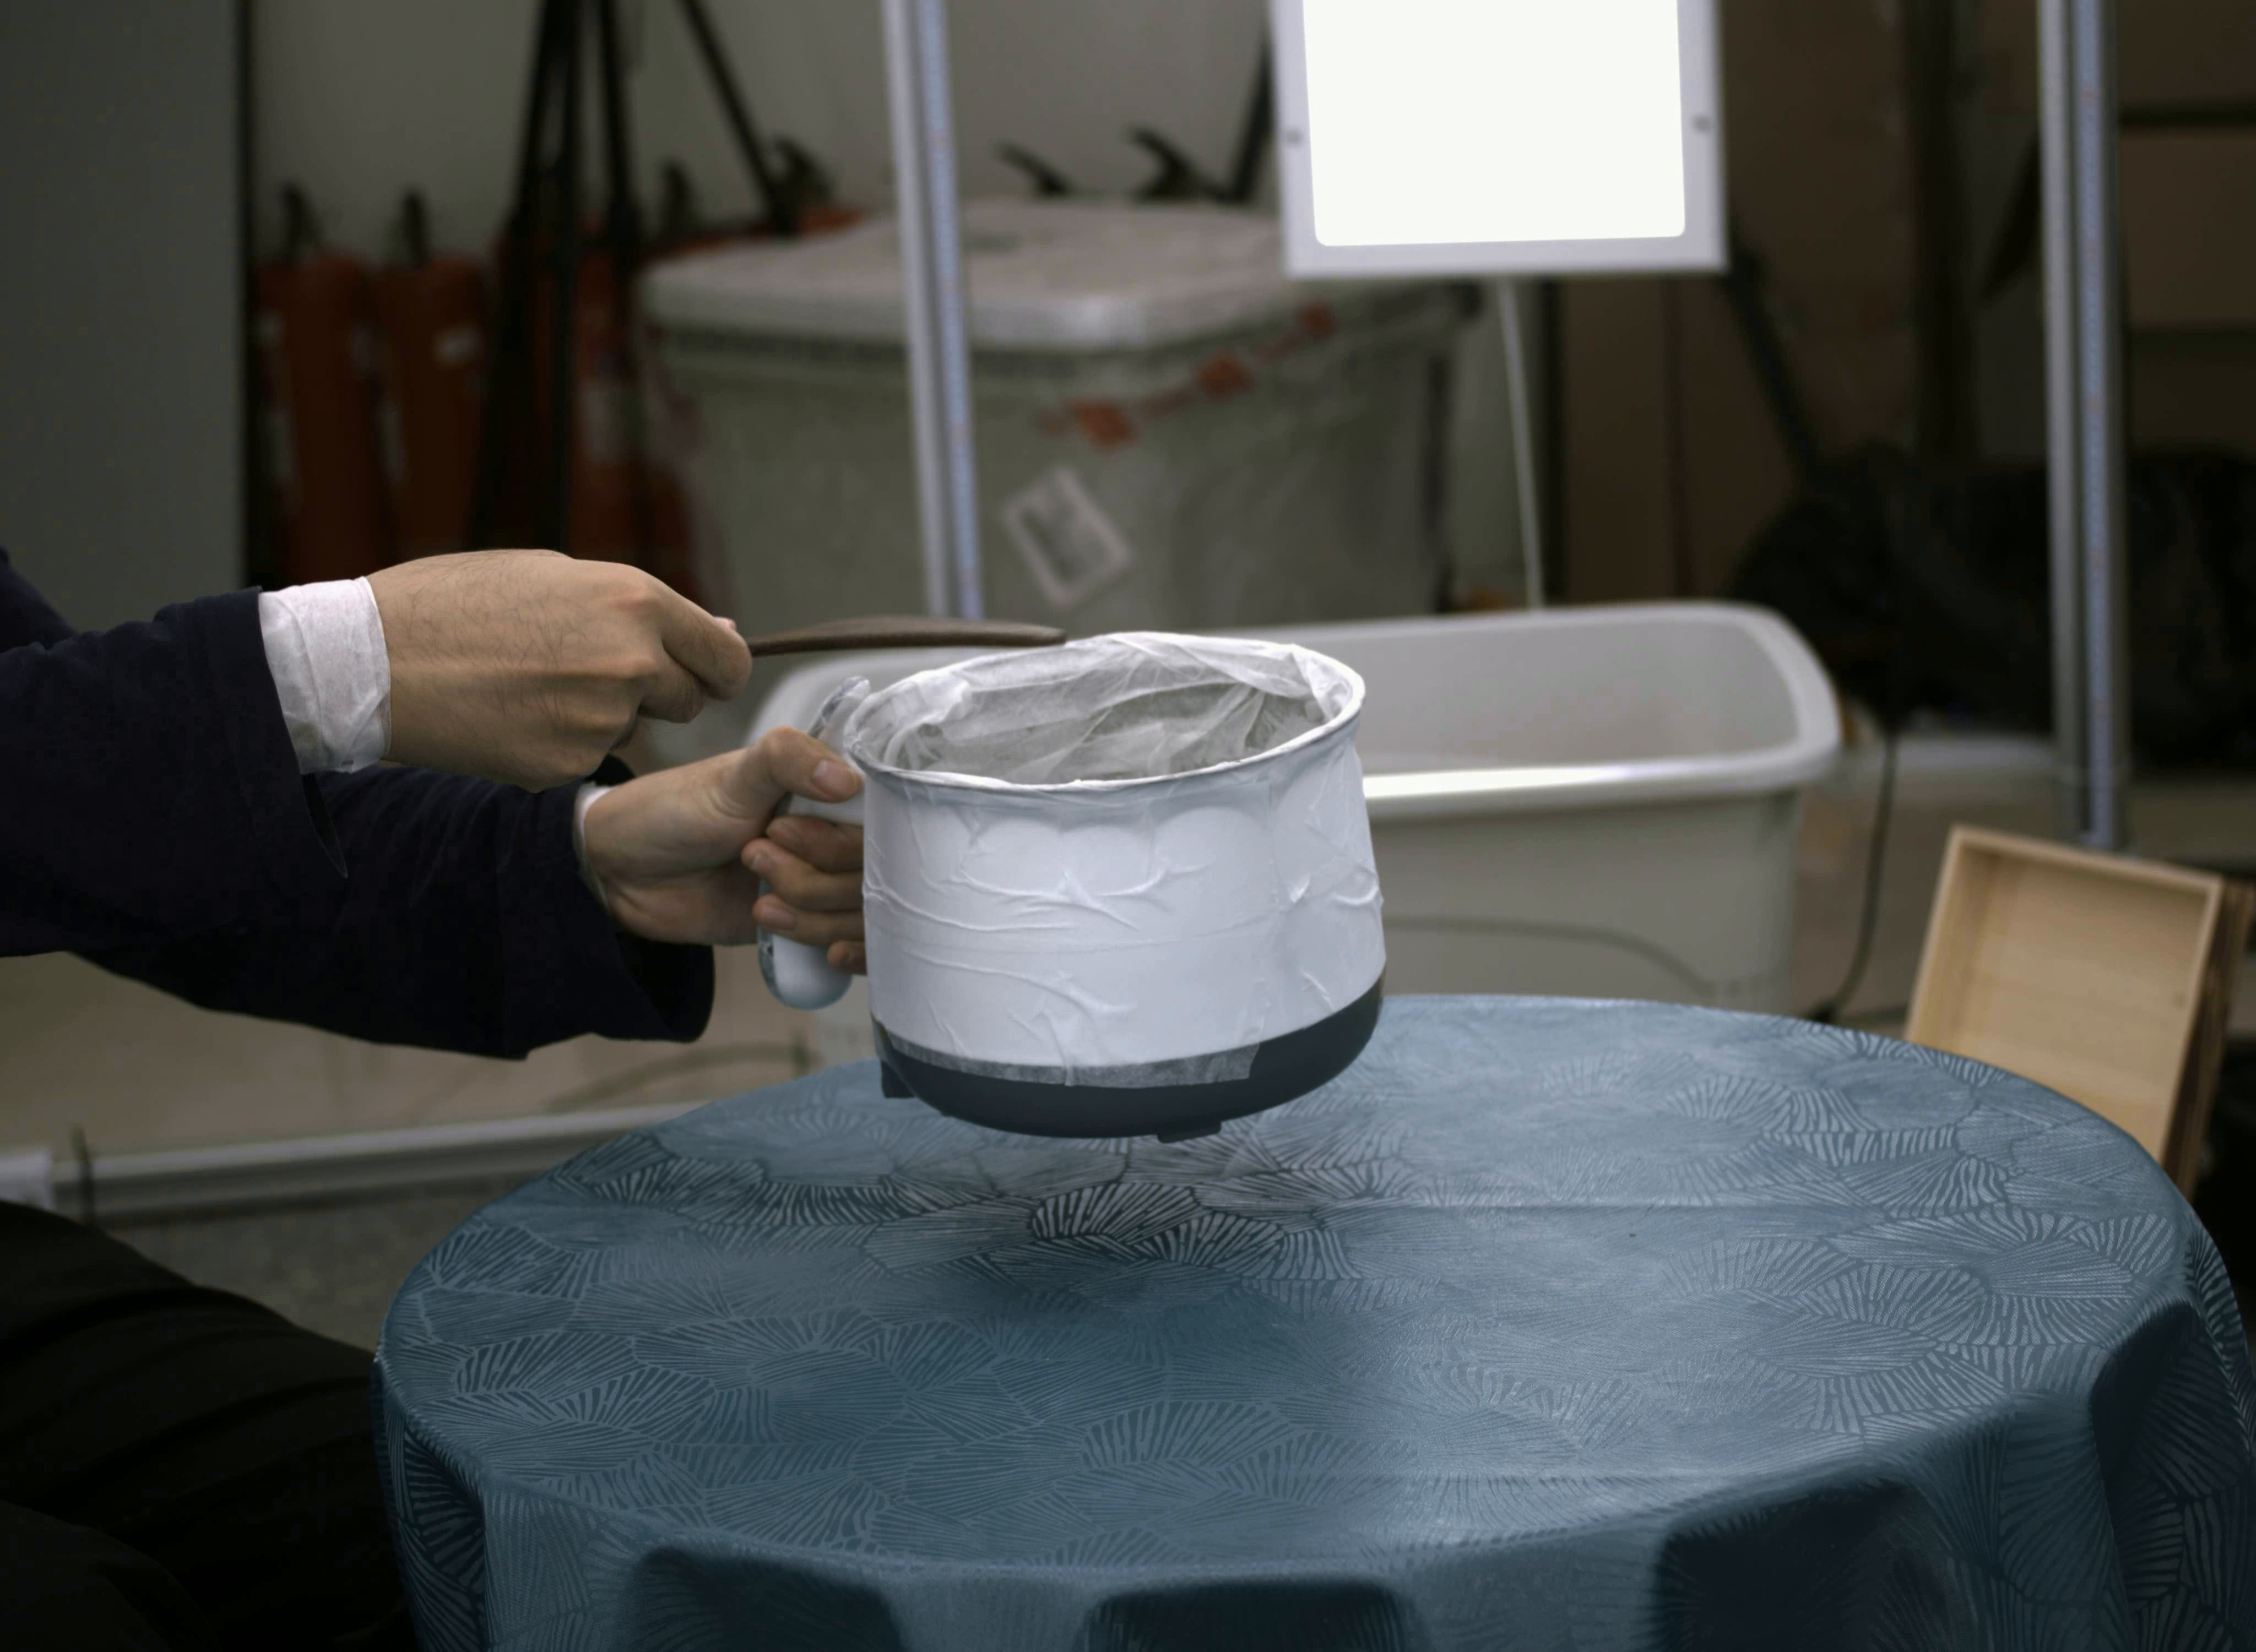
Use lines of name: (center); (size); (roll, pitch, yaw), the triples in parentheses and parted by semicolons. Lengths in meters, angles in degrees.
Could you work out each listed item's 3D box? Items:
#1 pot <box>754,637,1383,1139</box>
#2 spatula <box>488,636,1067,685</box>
pot: (-0.027, 0.018, 1.879); (0.238, 0.137, 0.175); (5, 18, 29)
spatula: (-0.117, -0.054, 1.810); (0.210, 0.009, 0.073); (-6, 6, -34)
